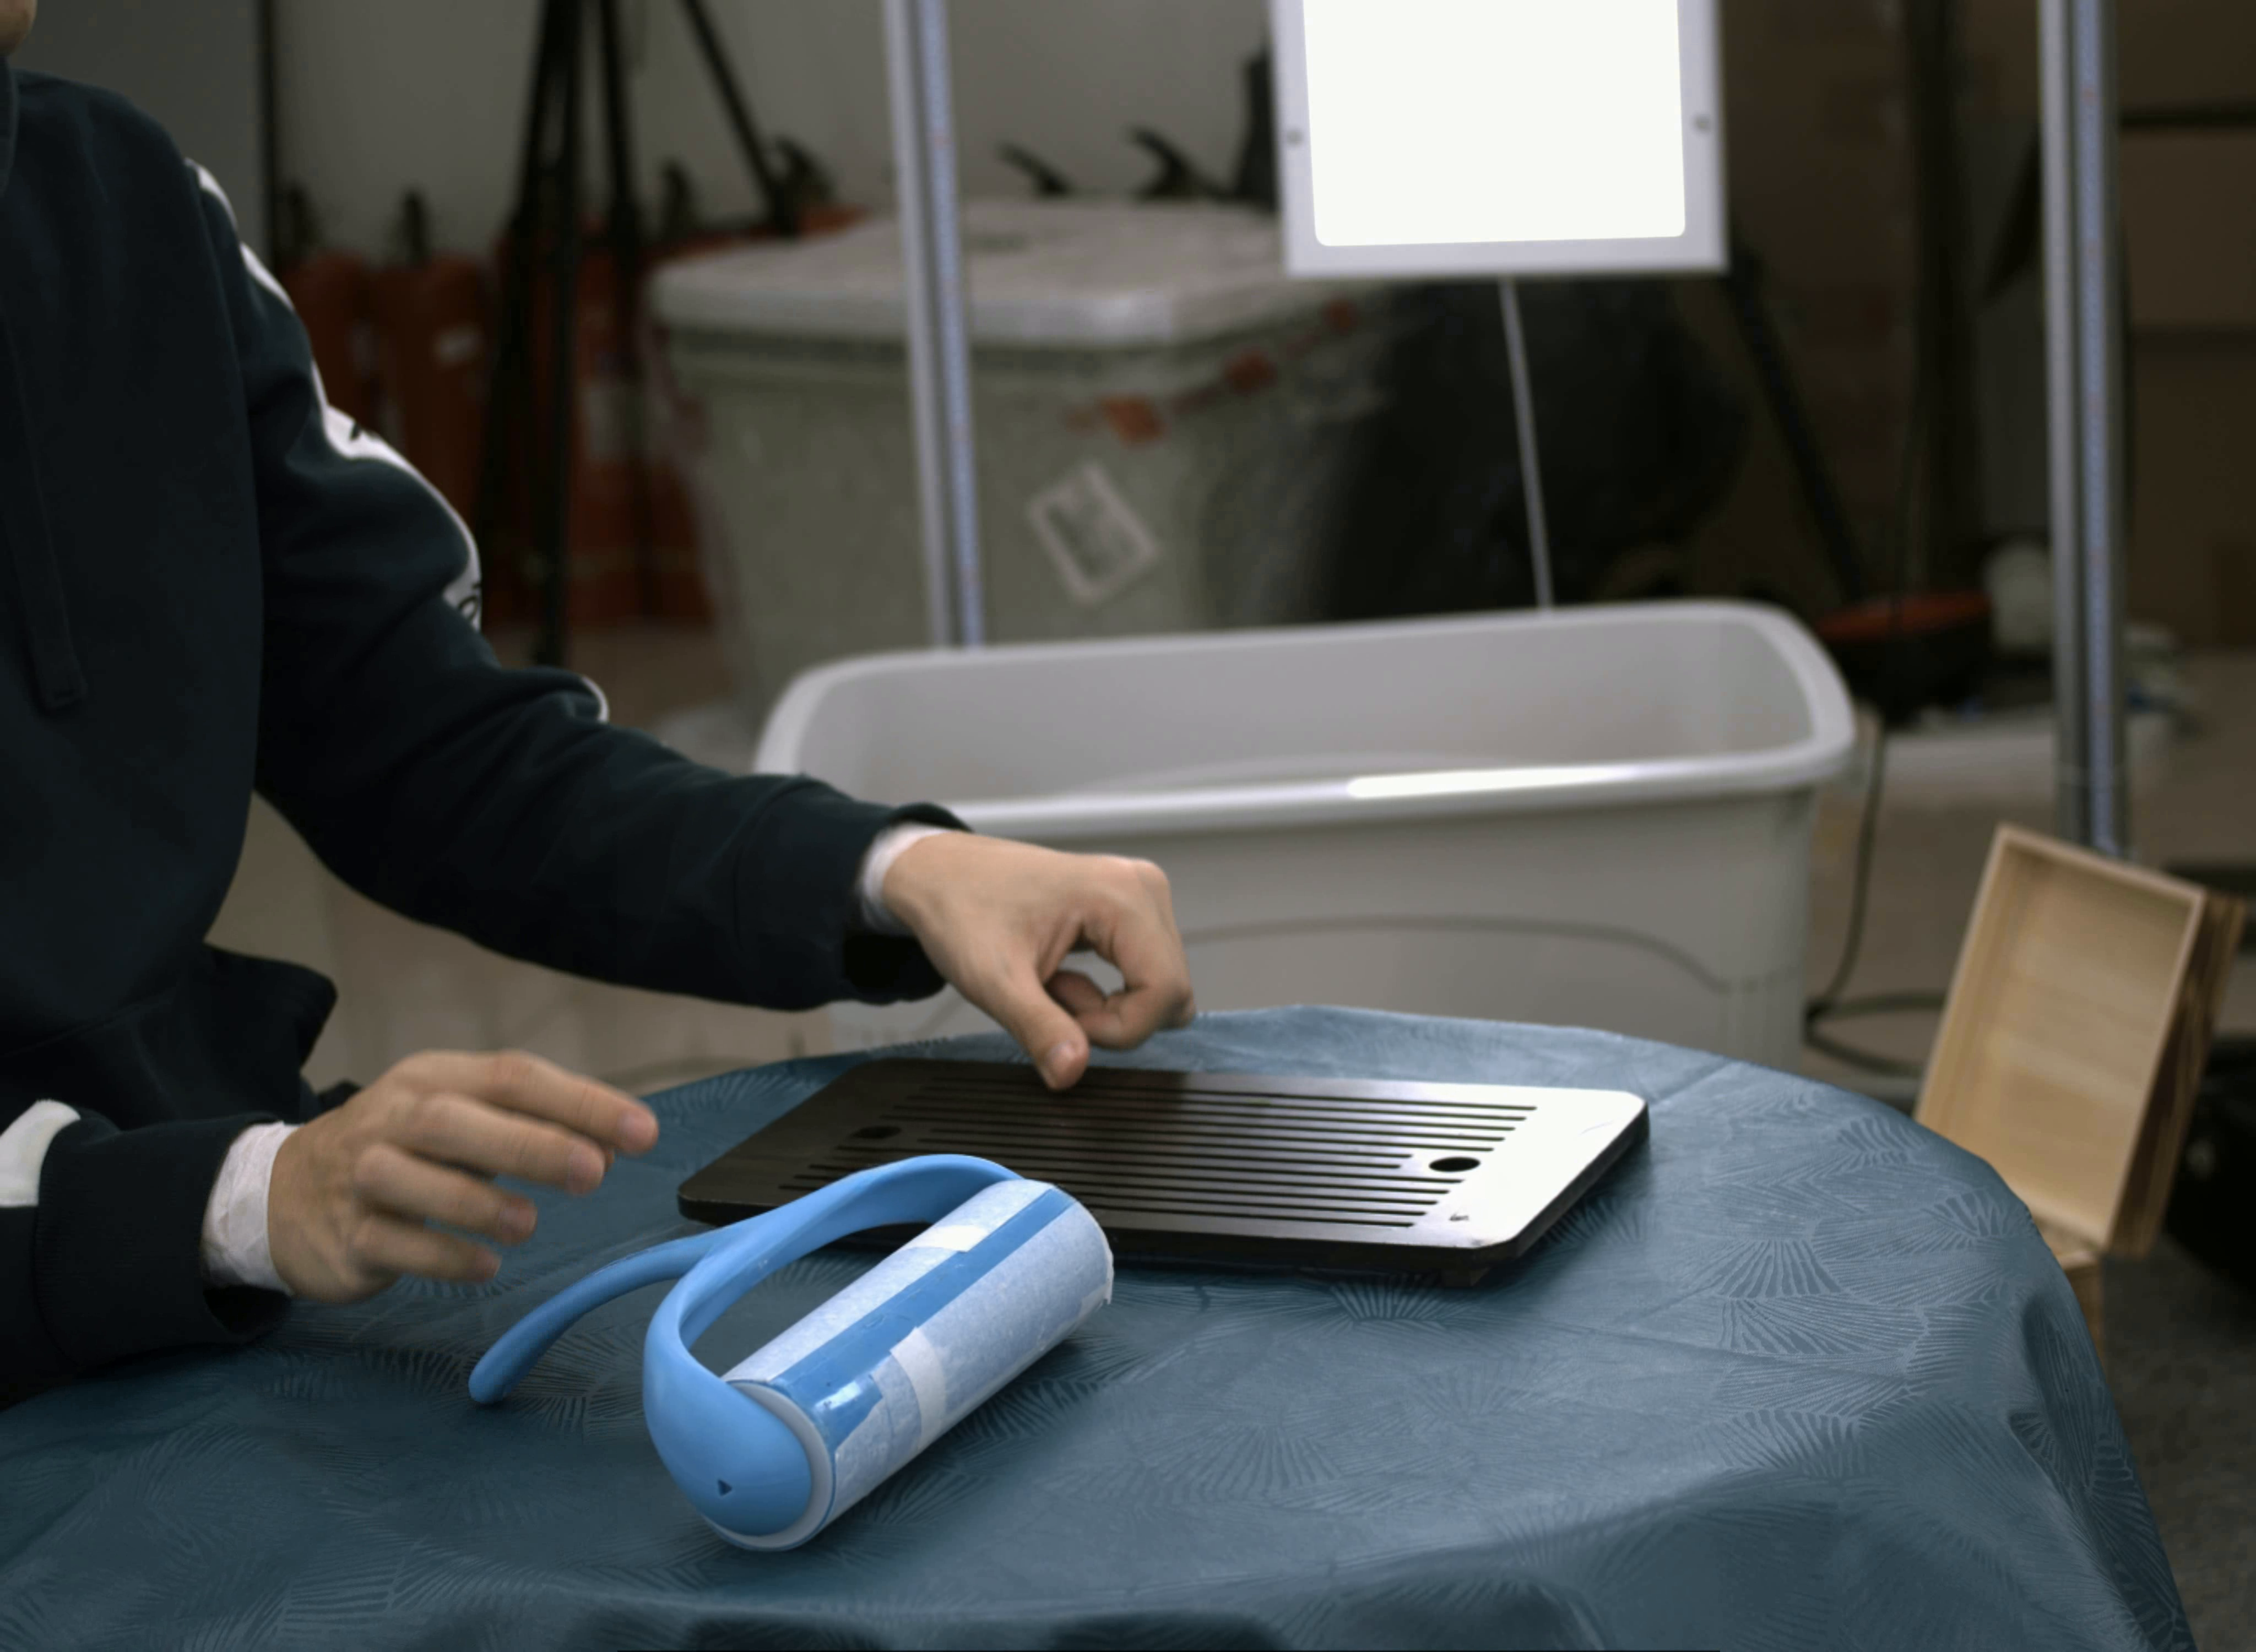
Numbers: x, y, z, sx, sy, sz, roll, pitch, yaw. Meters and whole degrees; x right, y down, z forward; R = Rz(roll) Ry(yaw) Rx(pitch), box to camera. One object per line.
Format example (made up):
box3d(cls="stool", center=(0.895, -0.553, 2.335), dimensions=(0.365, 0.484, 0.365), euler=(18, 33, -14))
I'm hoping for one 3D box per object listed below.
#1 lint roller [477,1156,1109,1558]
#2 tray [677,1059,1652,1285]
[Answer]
box3d(cls="lint roller", center=(-0.123, 0.157, 1.694), dimensions=(0.183, 0.068, 0.224), euler=(3, 18, 22))
box3d(cls="tray", center=(0.014, 0.117, 1.891), dimensions=(0.311, 0.019, 0.167), euler=(1, 15, 25))
